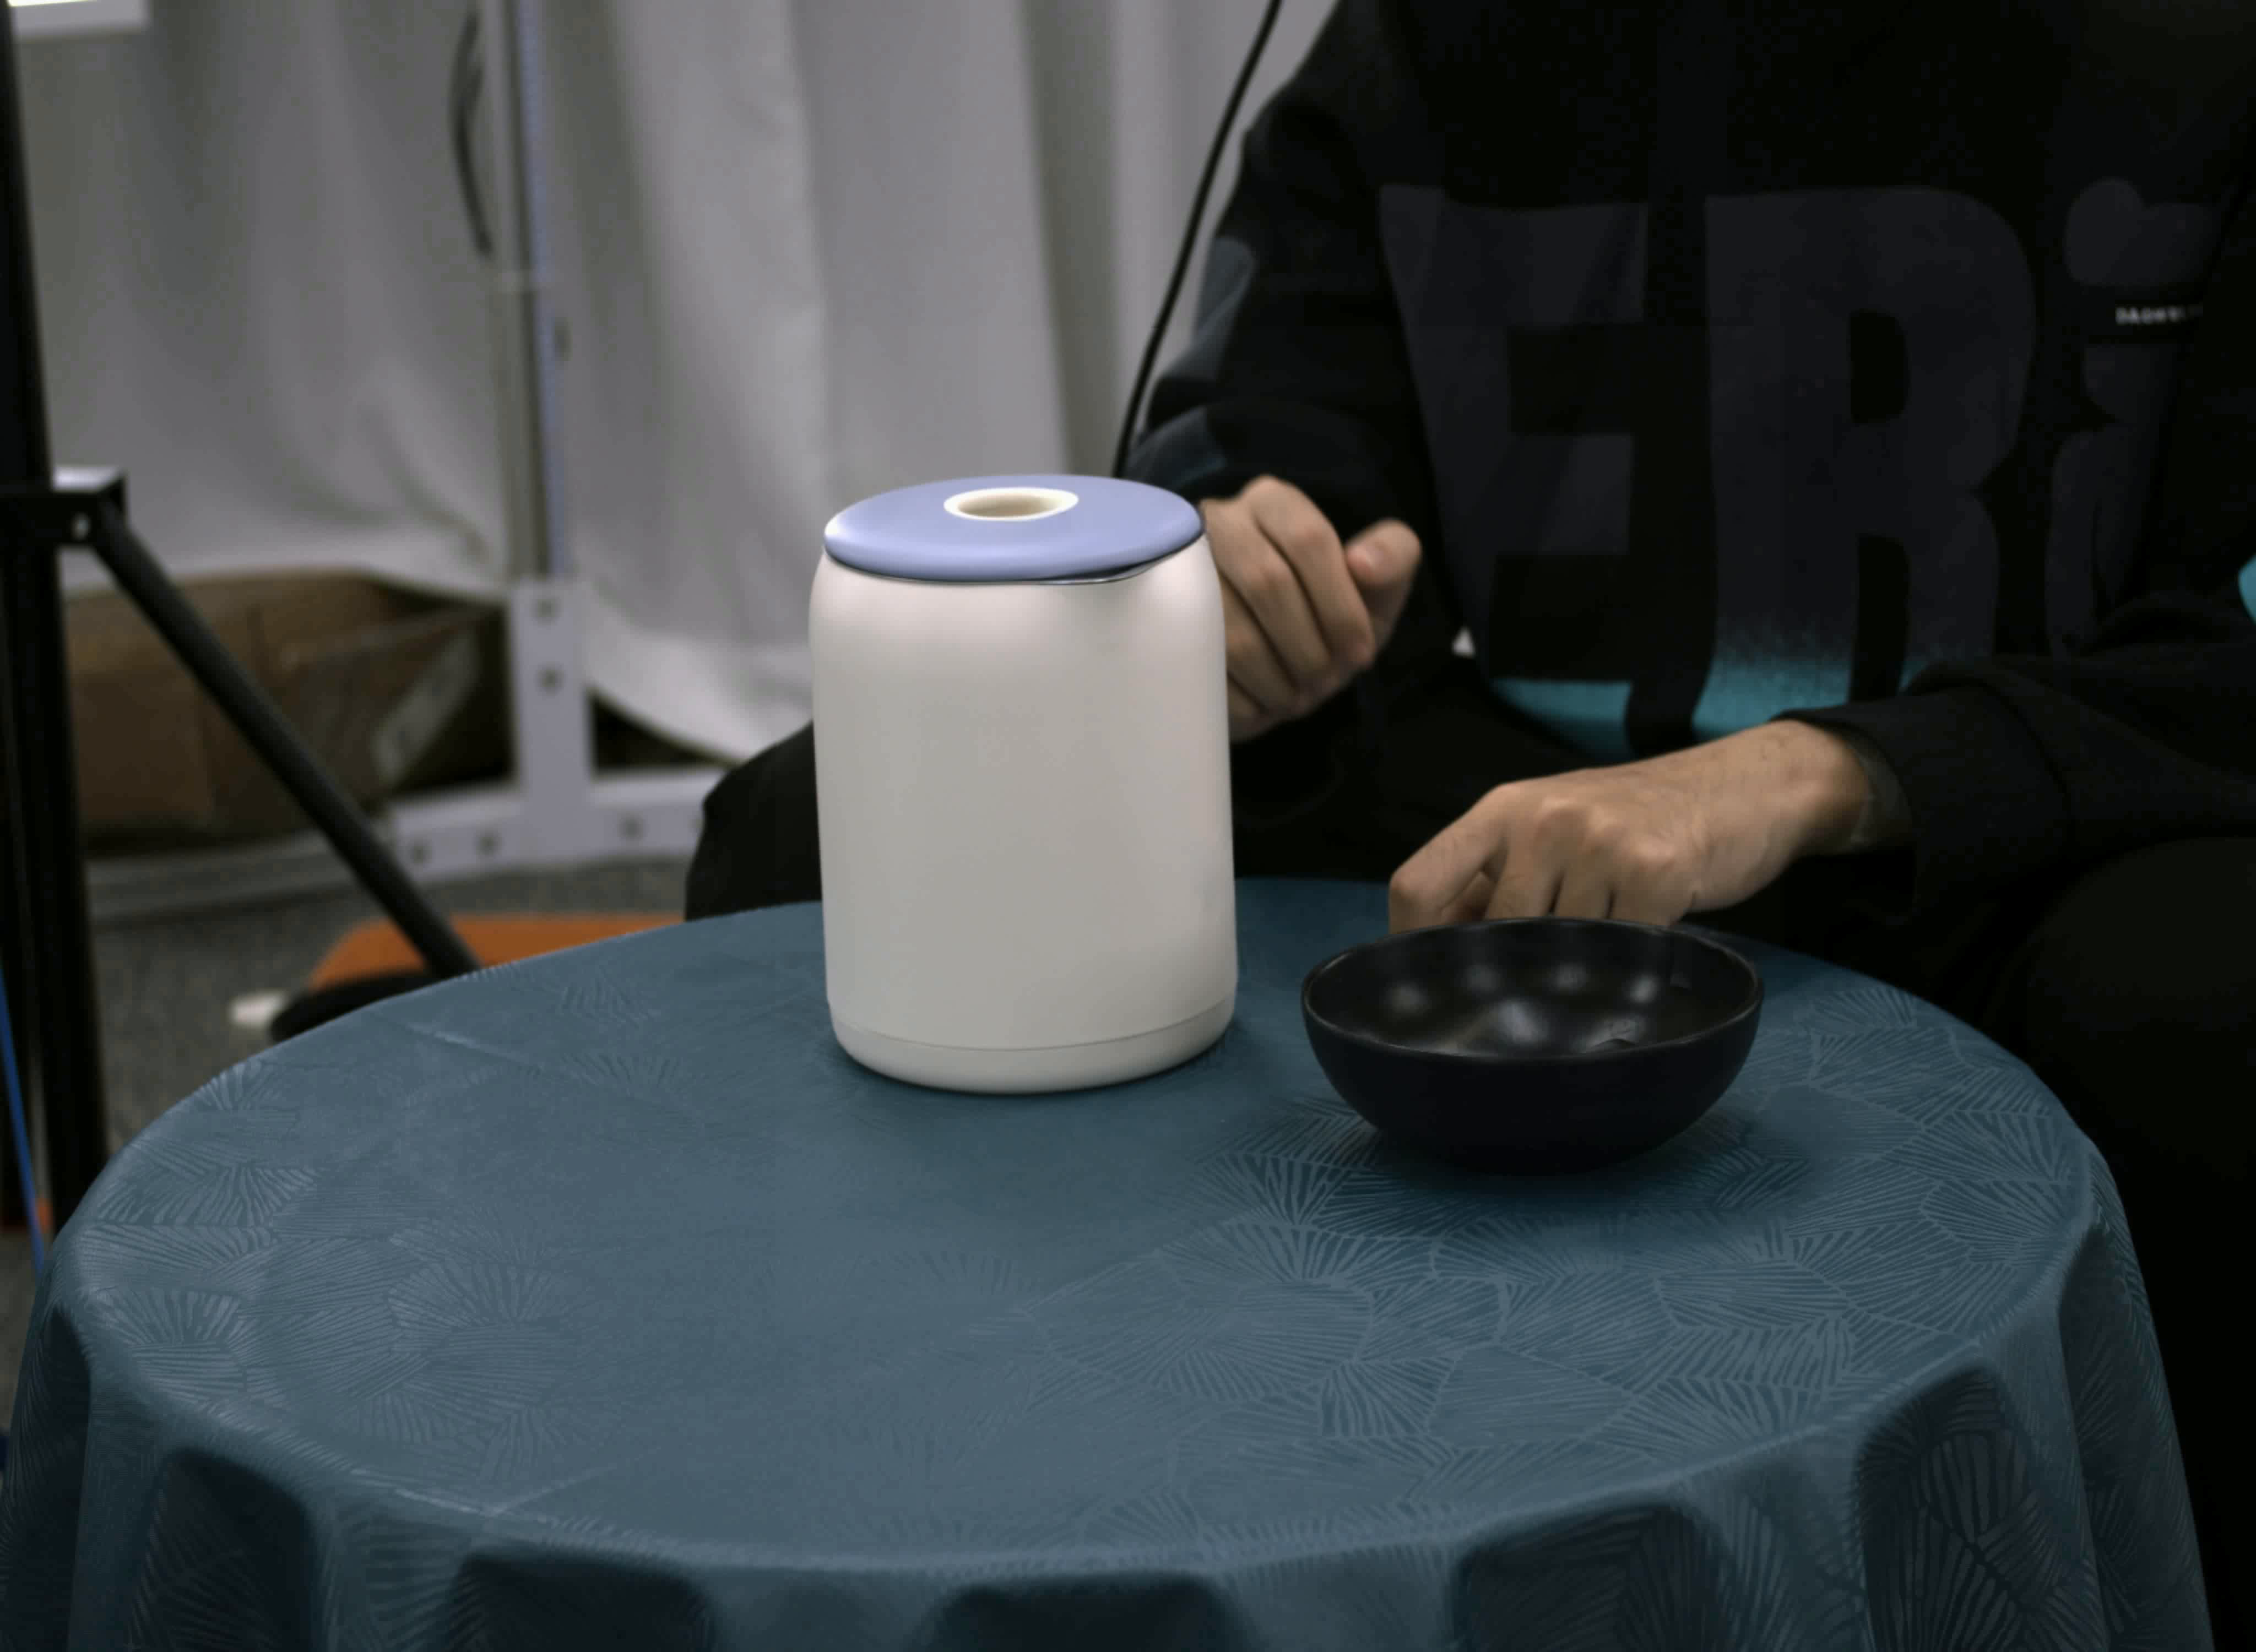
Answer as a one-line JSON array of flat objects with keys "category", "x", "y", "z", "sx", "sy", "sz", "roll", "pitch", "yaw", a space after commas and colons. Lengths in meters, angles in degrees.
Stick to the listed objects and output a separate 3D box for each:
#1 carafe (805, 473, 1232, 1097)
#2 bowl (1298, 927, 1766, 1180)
[{"category": "carafe", "x": -0.046, "y": -0.019, "z": 1.702, "sx": 0.129, "sy": 0.182, "sz": 0.195, "roll": -9, "pitch": 14, "yaw": -27}, {"category": "bowl", "x": 0.121, "y": 0.072, "z": 1.577, "sx": 0.139, "sy": 0.050, "sz": 0.140, "roll": -3, "pitch": 14, "yaw": -1}]
